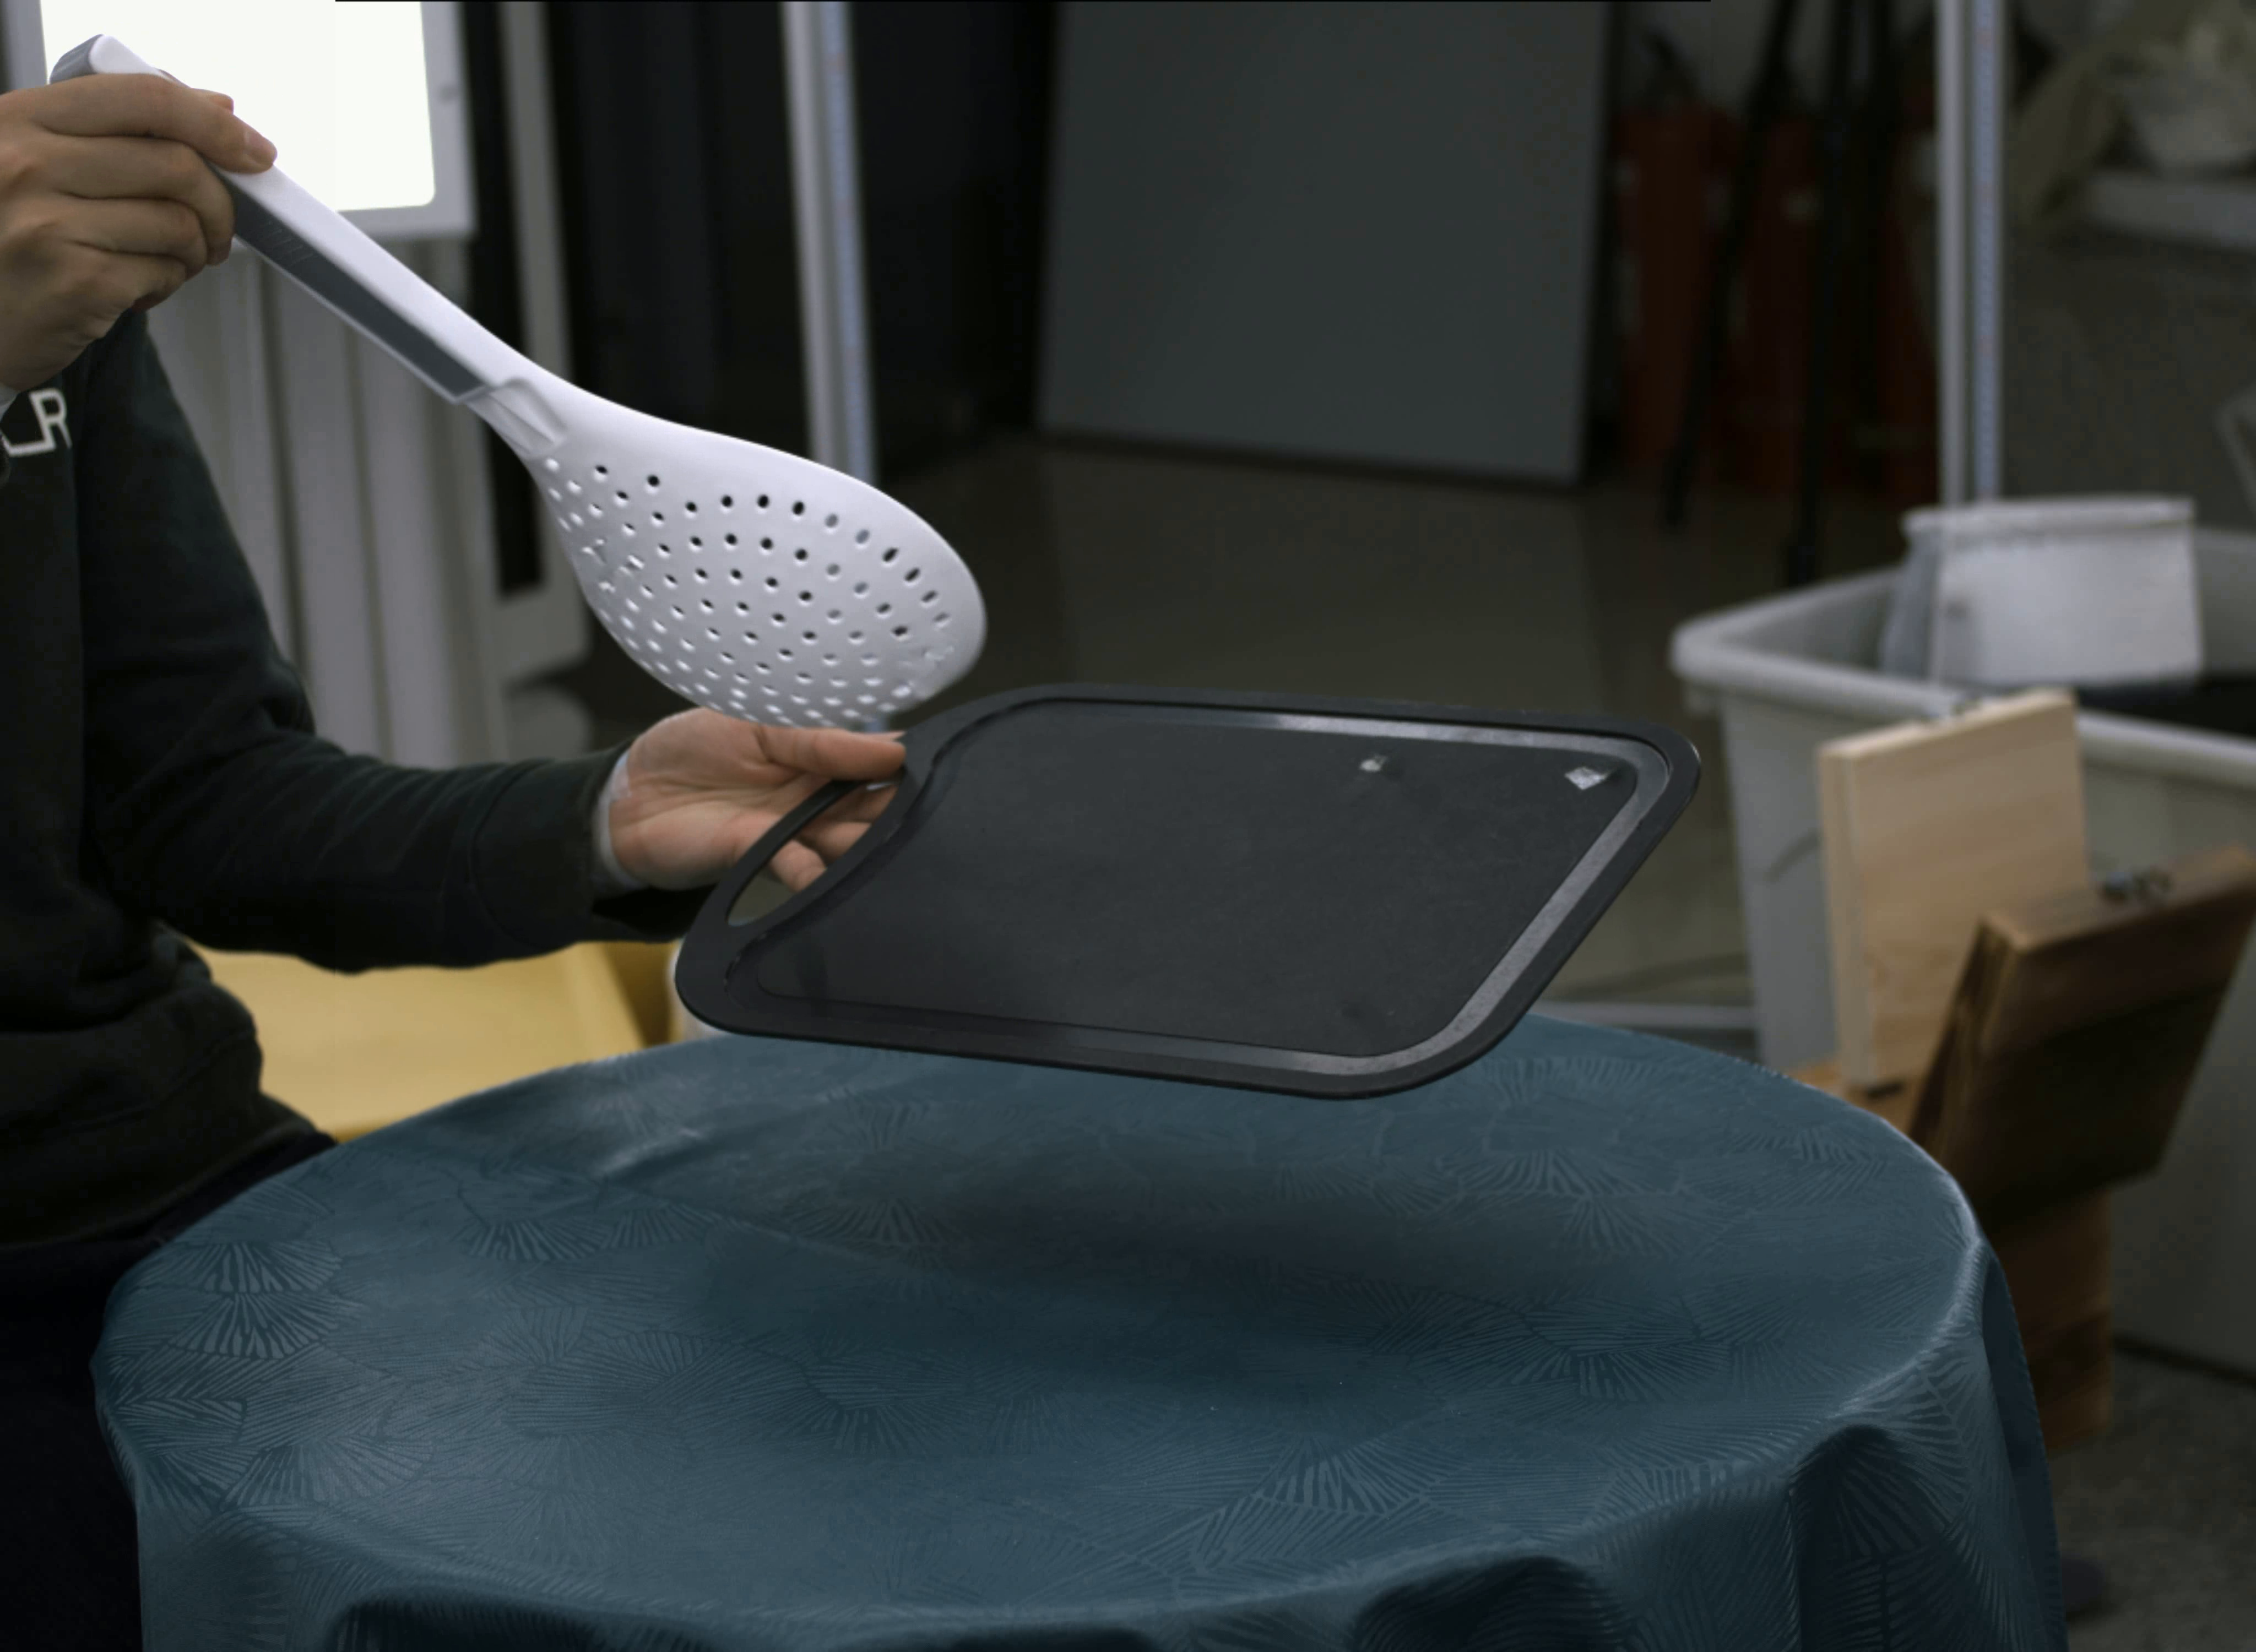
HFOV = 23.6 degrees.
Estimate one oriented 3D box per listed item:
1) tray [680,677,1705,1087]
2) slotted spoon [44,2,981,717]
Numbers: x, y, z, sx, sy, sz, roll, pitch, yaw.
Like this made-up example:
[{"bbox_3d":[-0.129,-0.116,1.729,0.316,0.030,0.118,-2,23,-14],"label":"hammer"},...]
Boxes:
[{"bbox_3d":[0.010,0.012,1.706,0.327,0.010,0.209,4,36,35],"label":"tray"},{"bbox_3d":[-0.186,-0.135,1.642,0.137,0.346,0.046,-22,36,41],"label":"slotted spoon"}]
